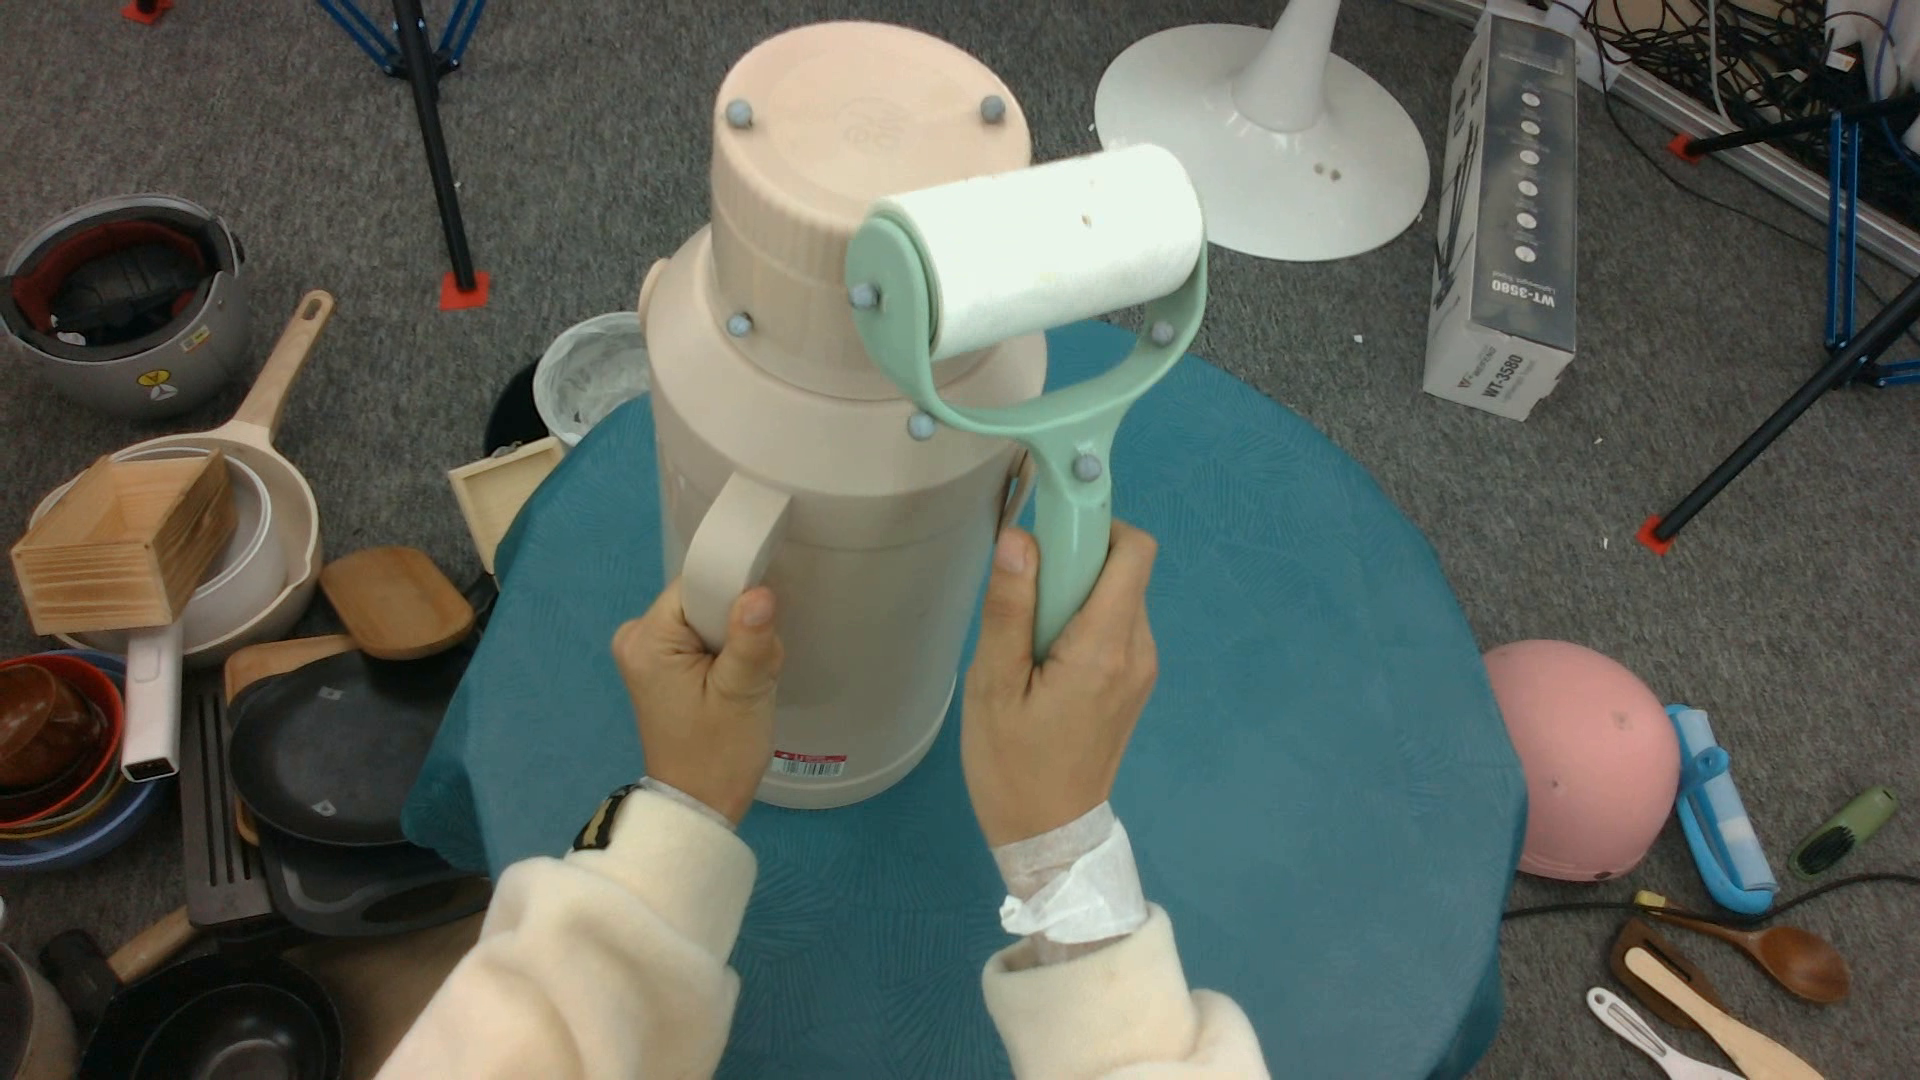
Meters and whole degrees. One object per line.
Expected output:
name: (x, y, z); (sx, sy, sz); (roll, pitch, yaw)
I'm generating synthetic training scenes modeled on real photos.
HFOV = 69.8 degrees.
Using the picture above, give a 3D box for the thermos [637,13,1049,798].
thermos: (-0.064, -0.023, 0.611); (0.175, 0.404, 0.208); (23, 56, 5)

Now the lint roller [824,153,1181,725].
lint roller: (0.021, -0.019, 0.453); (0.117, 0.197, 0.048); (-22, 27, -33)
